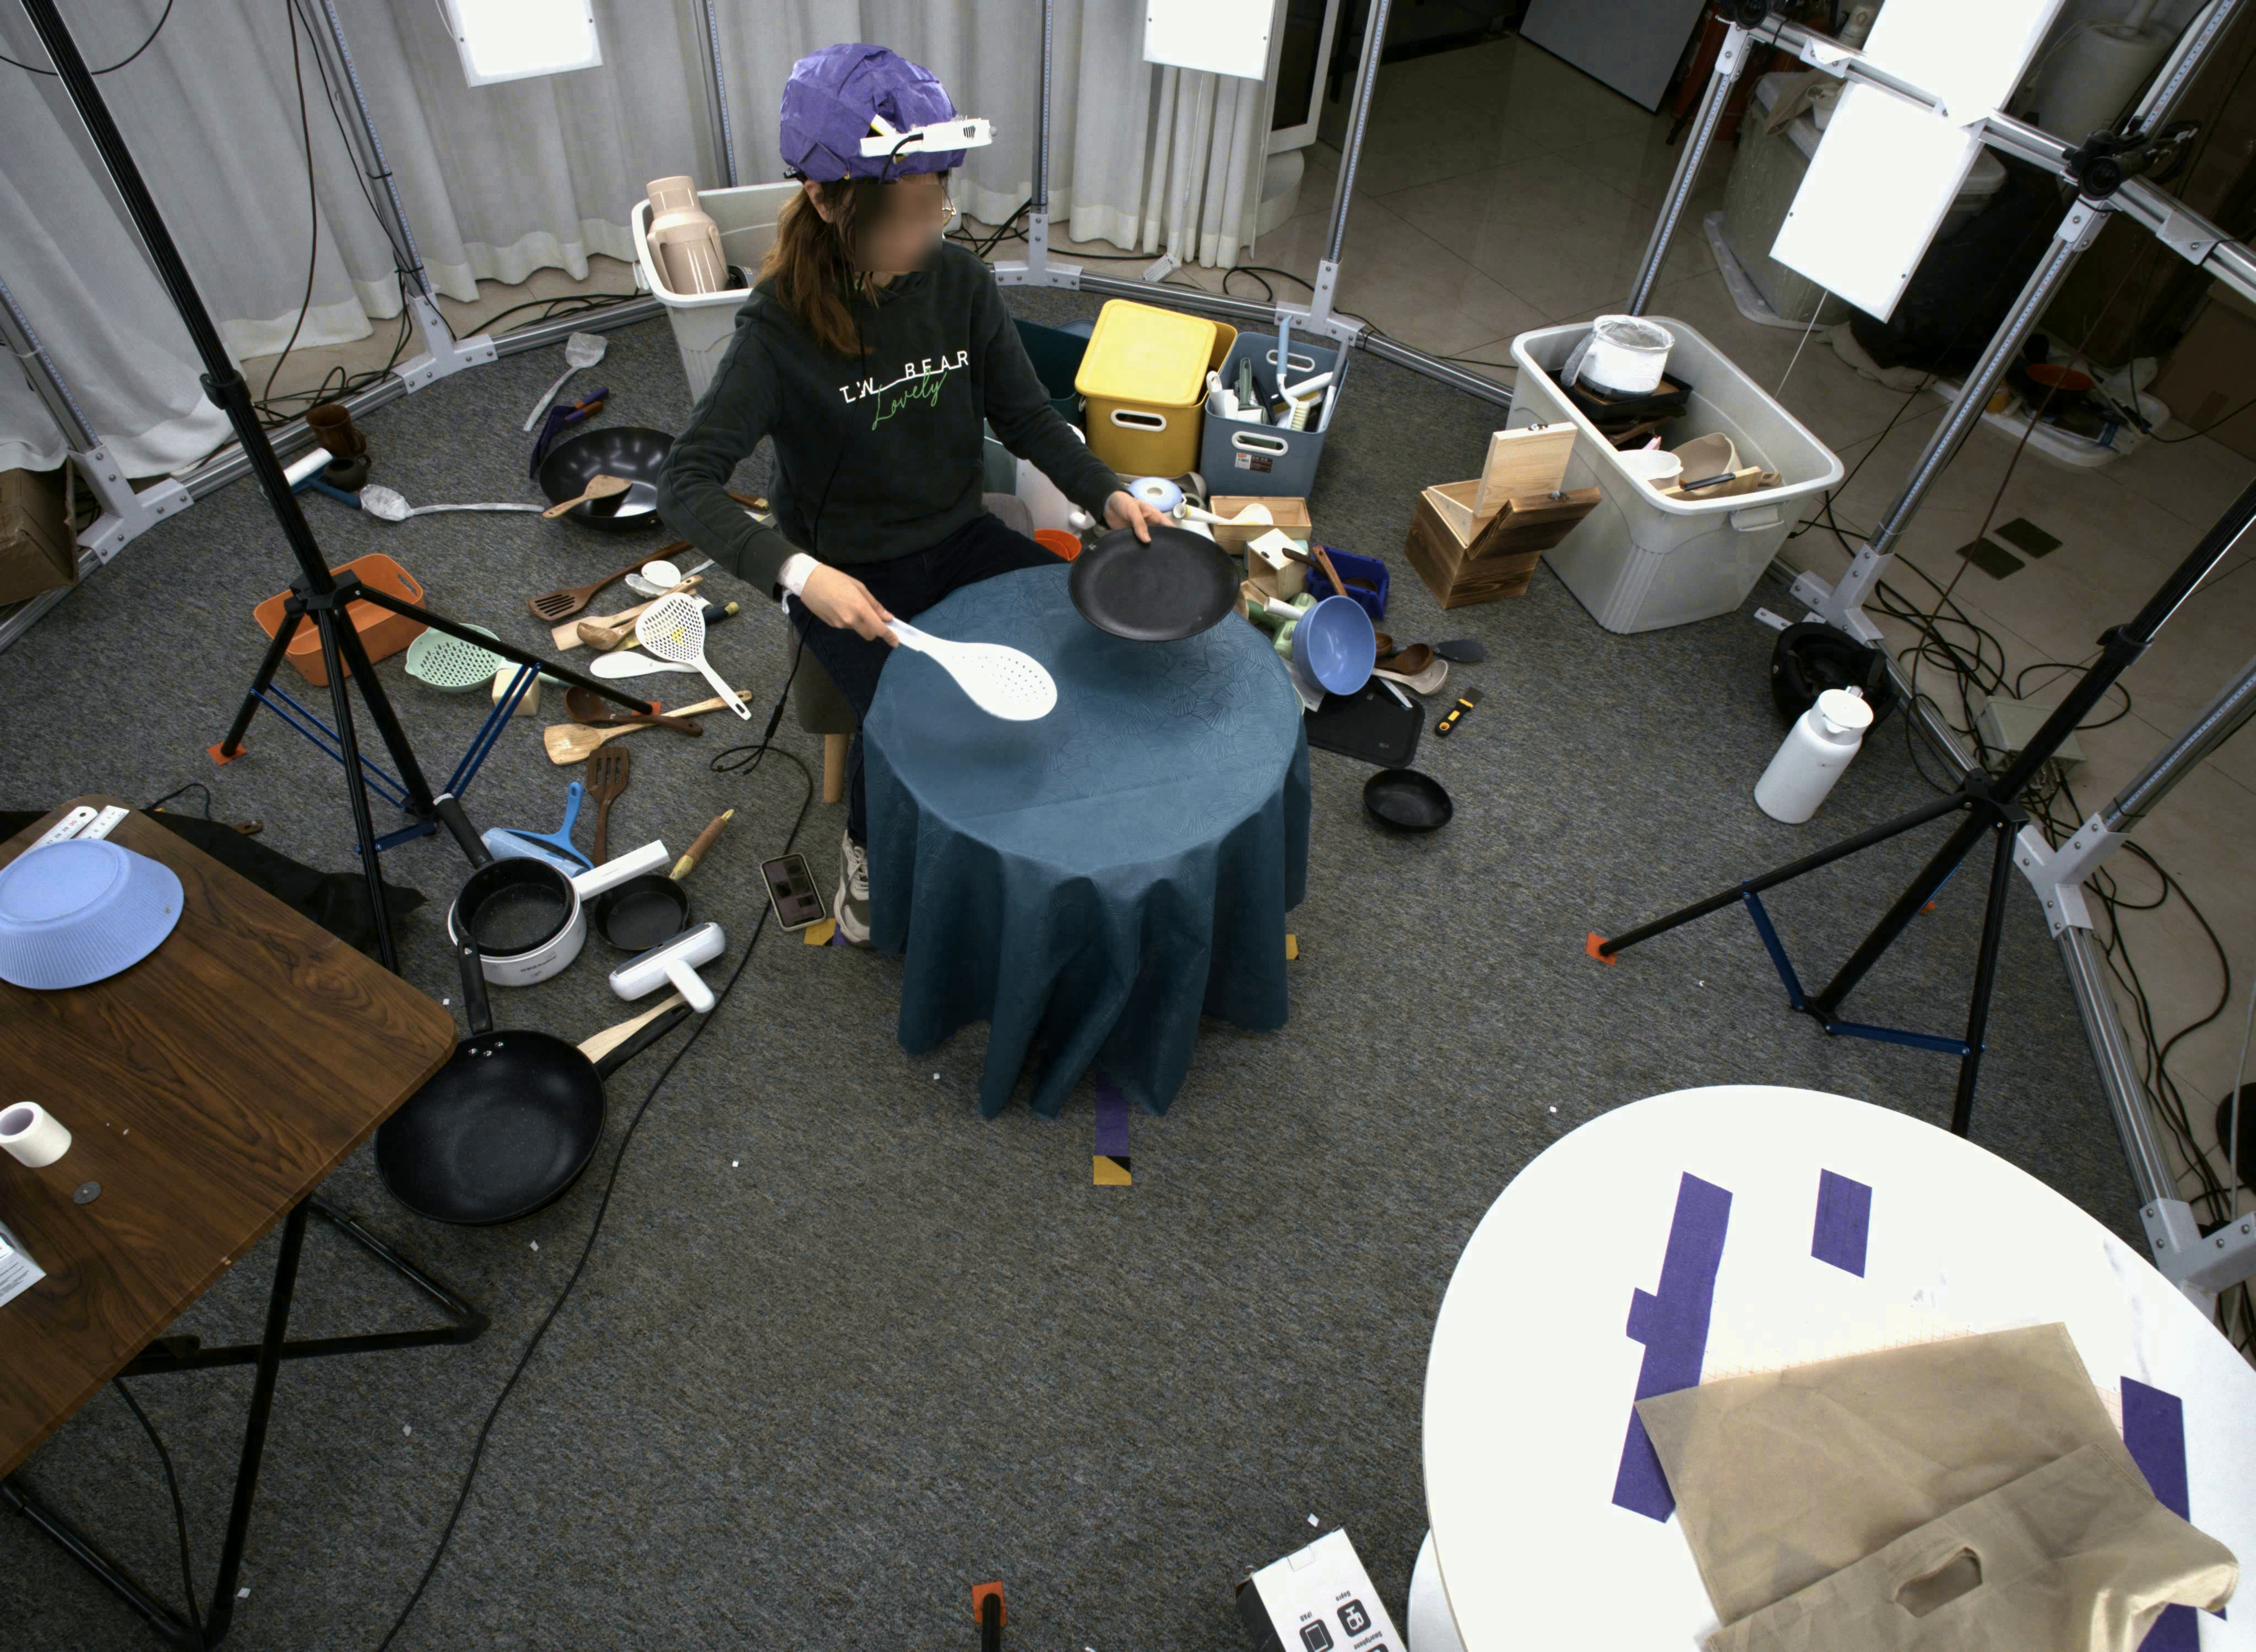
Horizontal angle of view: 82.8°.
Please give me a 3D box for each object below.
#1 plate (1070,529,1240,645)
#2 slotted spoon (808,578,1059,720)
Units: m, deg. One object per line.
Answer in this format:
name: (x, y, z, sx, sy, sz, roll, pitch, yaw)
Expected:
plate: (0.039, -0.341, 1.846, 0.244, 0.023, 0.250, -1, 50, 1)
slotted spoon: (-0.253, -0.234, 1.686, 0.348, 0.045, 0.139, 30, 38, -8)
